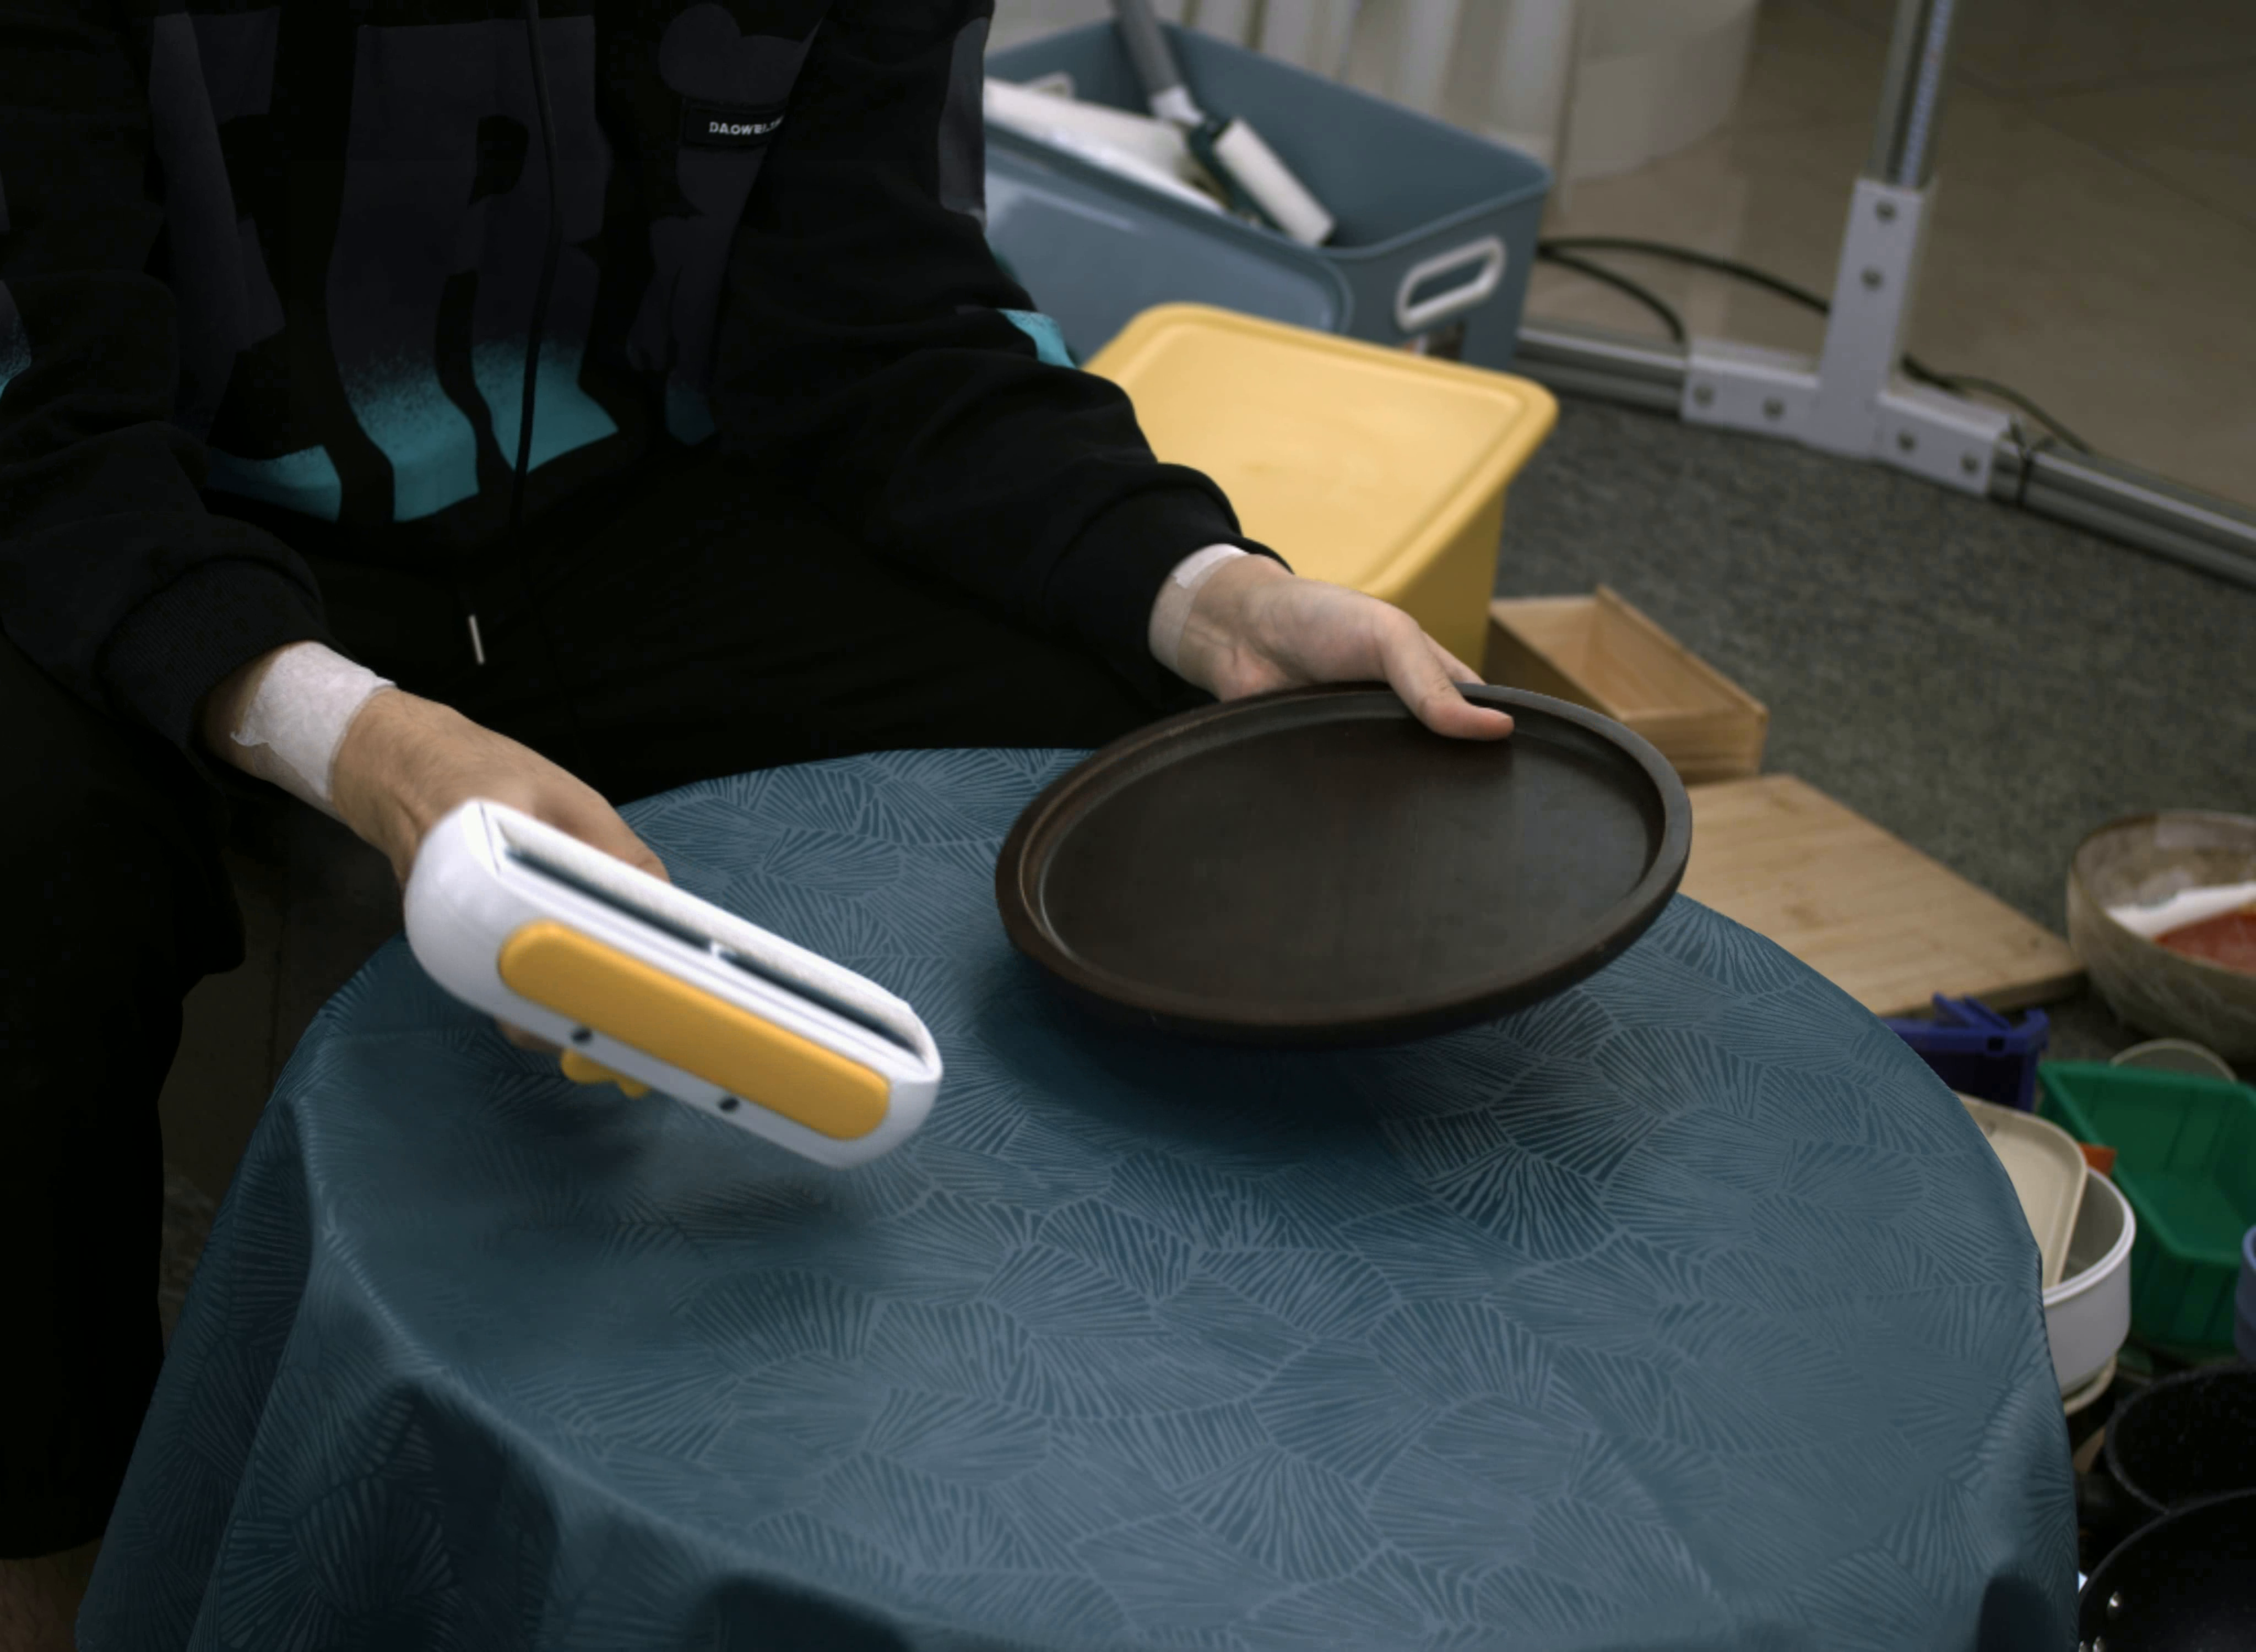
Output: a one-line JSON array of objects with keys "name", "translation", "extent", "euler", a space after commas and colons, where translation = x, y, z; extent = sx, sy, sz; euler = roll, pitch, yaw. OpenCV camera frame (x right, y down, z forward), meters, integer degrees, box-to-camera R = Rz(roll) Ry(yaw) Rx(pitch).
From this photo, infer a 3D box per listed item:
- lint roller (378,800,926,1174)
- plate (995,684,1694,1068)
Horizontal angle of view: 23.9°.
[{"name": "lint roller", "translation": [-0.171, 0.038, 1.775], "extent": [0.191, 0.074, 0.194], "euler": [22, 14, -22]}, {"name": "plate", "translation": [0.078, 0.017, 1.913], "extent": [0.254, 0.029, 0.256], "euler": [-8, 27, 4]}]
